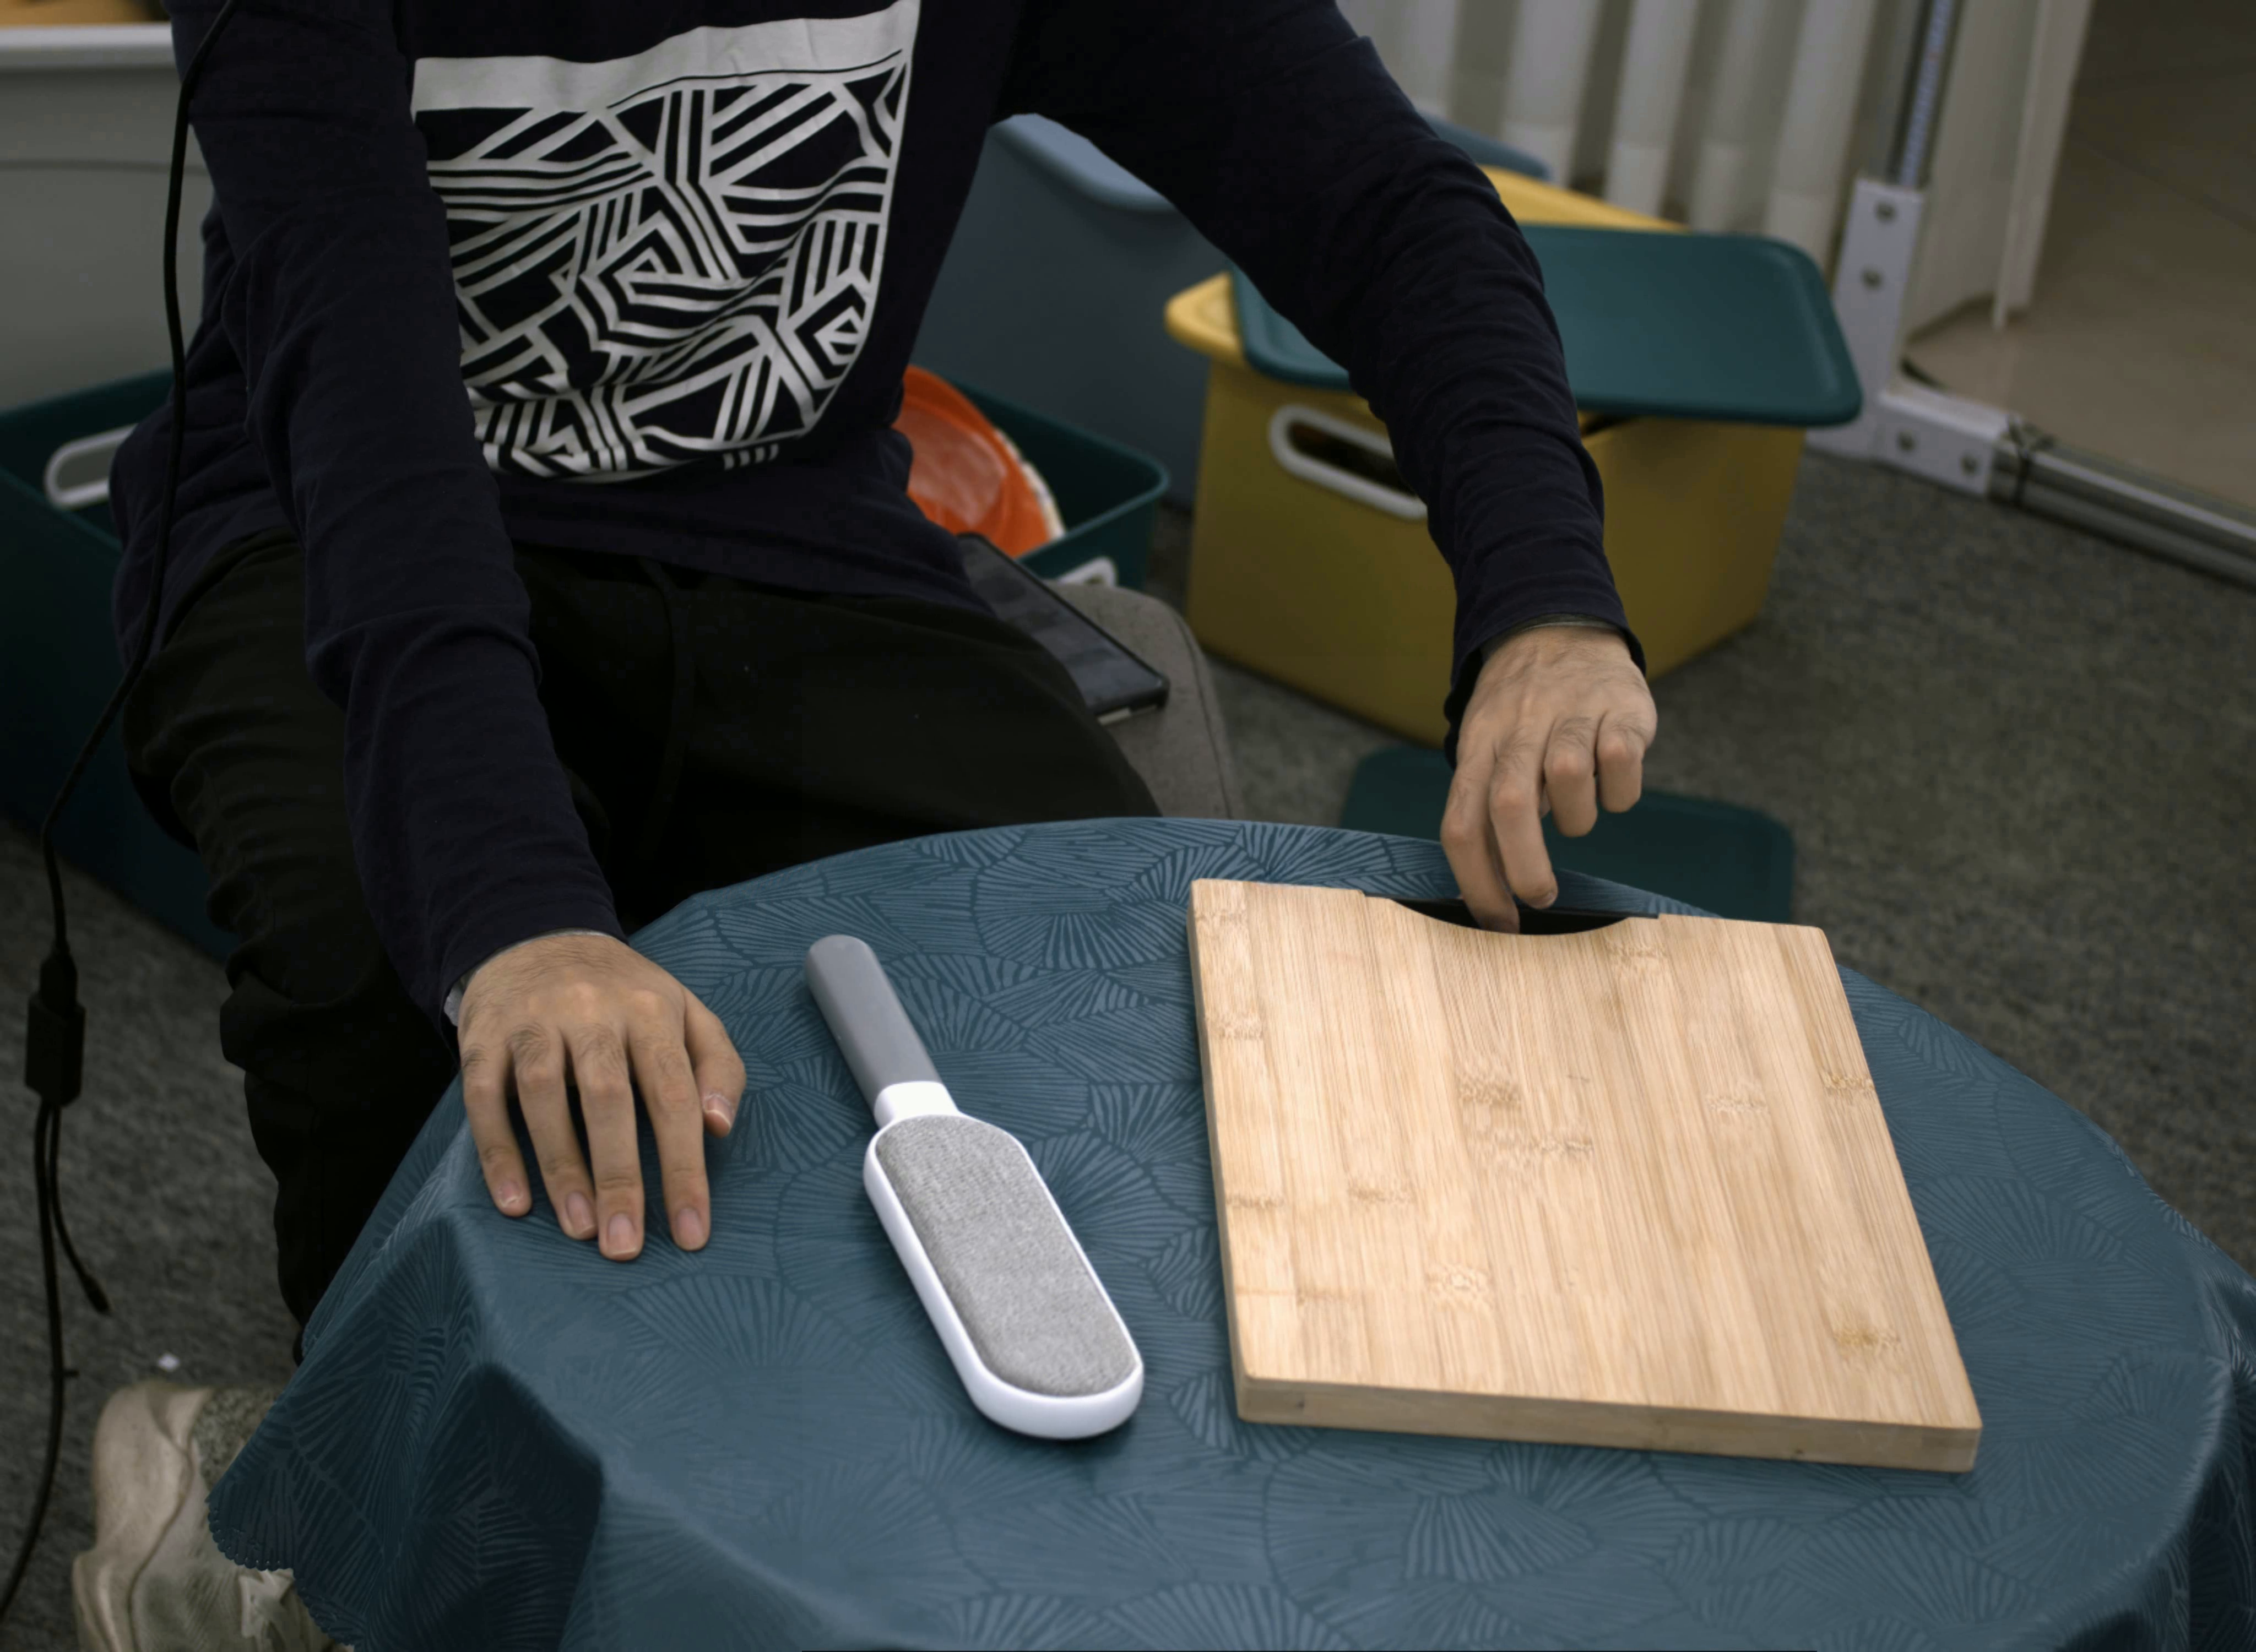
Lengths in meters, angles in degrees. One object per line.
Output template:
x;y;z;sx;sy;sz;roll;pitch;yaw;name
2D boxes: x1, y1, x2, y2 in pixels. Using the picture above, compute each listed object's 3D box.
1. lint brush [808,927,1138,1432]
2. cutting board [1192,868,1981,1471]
-0.060;0.113;1.784;0.060;0.021;0.311;-7;29;-15;lint brush
0.148;0.112;1.845;0.250;0.023;0.351;5;27;-5;cutting board
